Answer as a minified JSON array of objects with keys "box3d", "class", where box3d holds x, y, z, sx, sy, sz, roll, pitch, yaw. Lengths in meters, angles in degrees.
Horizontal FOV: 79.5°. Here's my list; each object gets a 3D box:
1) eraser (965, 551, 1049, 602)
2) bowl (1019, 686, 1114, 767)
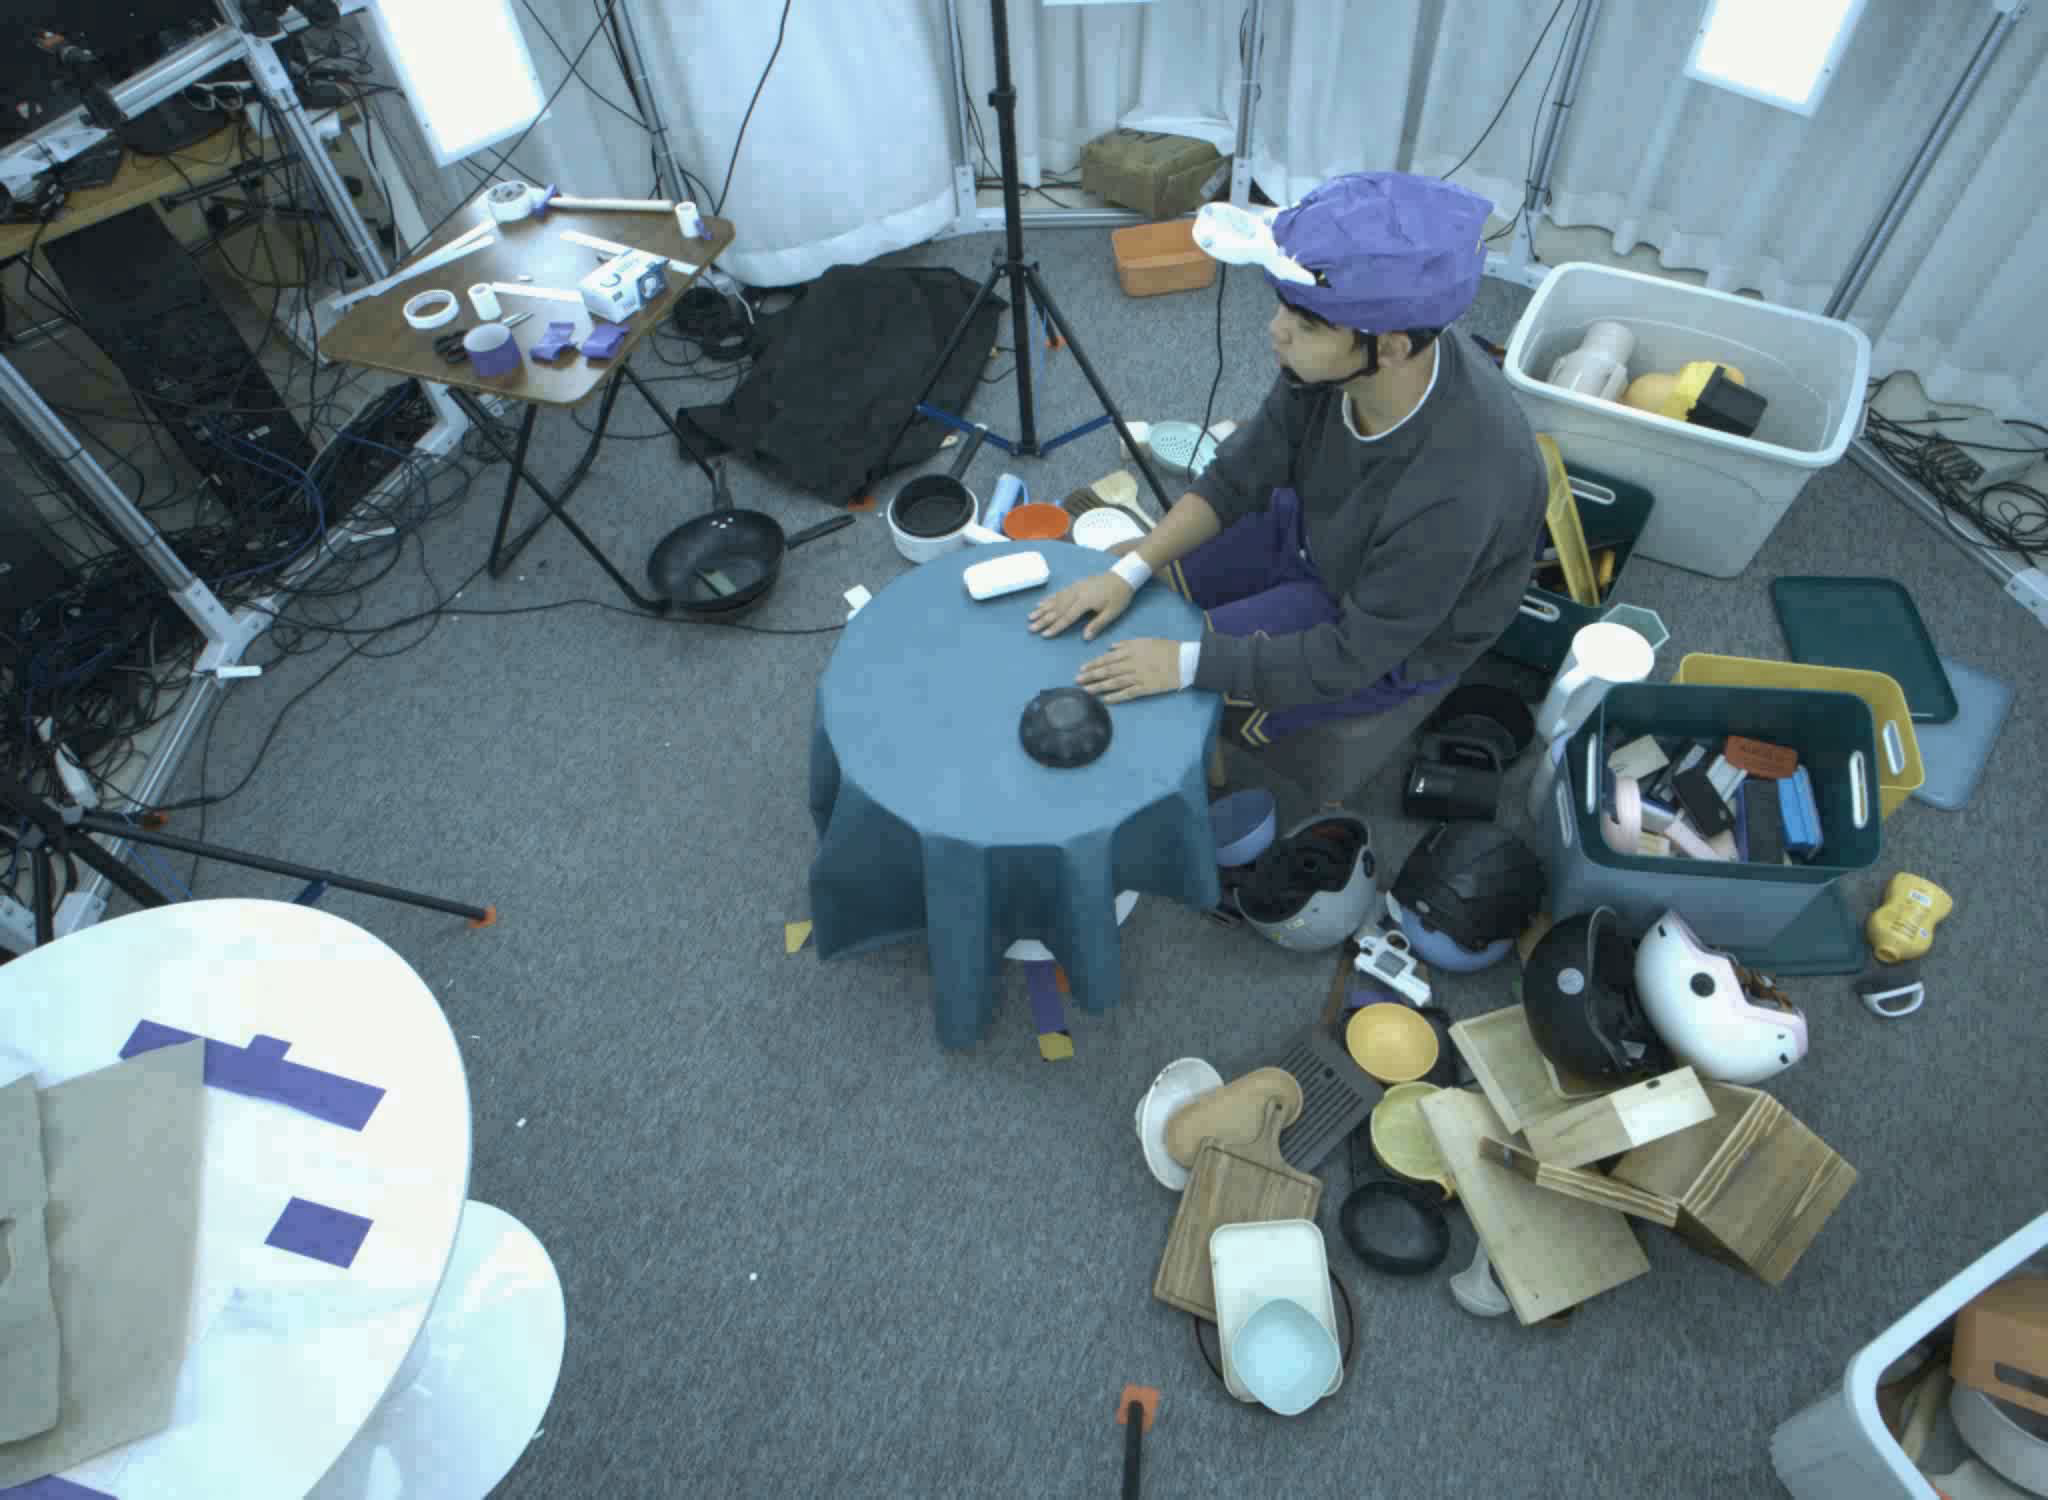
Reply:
[{"box3d":[-0.027,-0.278,1.969,0.132,0.035,0.062,-15,57,-6],"class":"eraser"},{"box3d":[0.060,-0.044,1.787,0.140,0.050,0.138,-1,54,3],"class":"bowl"}]
